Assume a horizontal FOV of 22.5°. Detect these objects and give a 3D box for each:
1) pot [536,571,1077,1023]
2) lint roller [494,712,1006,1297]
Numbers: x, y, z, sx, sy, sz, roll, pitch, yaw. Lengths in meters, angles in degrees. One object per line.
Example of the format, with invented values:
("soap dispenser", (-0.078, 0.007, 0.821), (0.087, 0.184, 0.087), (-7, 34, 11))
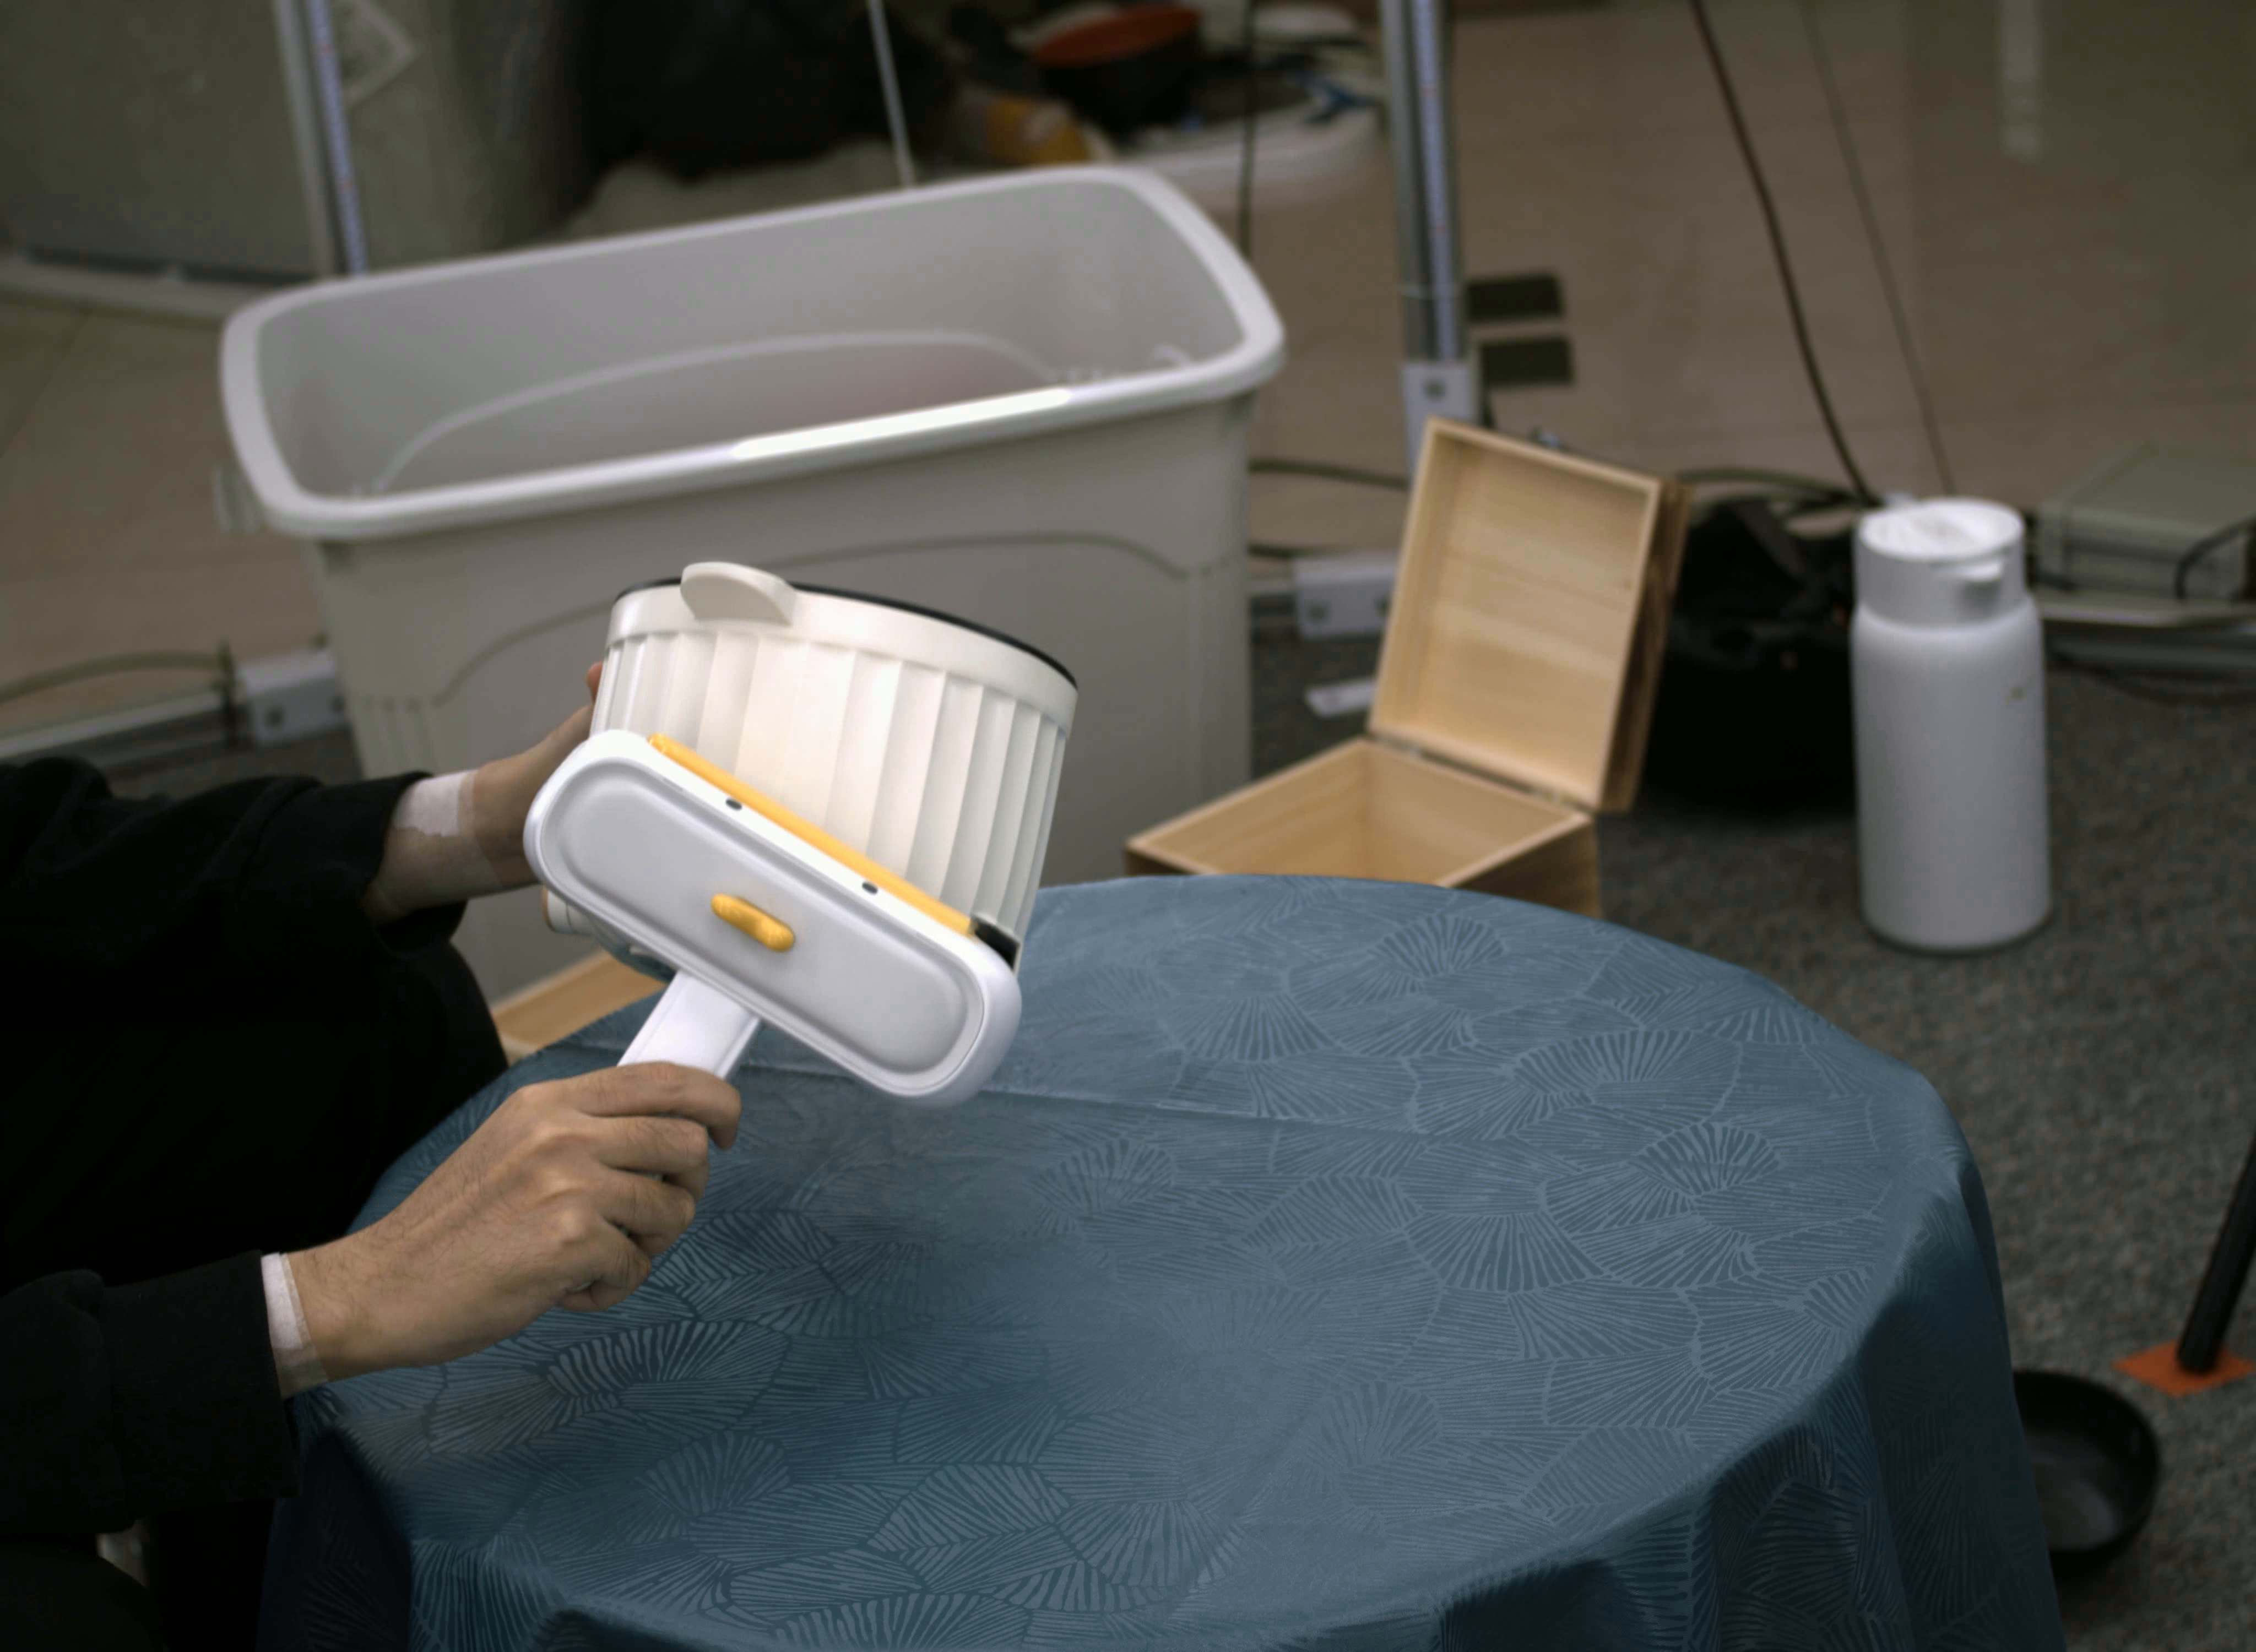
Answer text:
("pot", (-0.125, -0.003, 2.144), (0.190, 0.142, 0.242), (8, -12, 22))
("lint roller", (-0.161, 0.078, 2.018), (0.193, 0.192, 0.074), (28, -3, -3))
